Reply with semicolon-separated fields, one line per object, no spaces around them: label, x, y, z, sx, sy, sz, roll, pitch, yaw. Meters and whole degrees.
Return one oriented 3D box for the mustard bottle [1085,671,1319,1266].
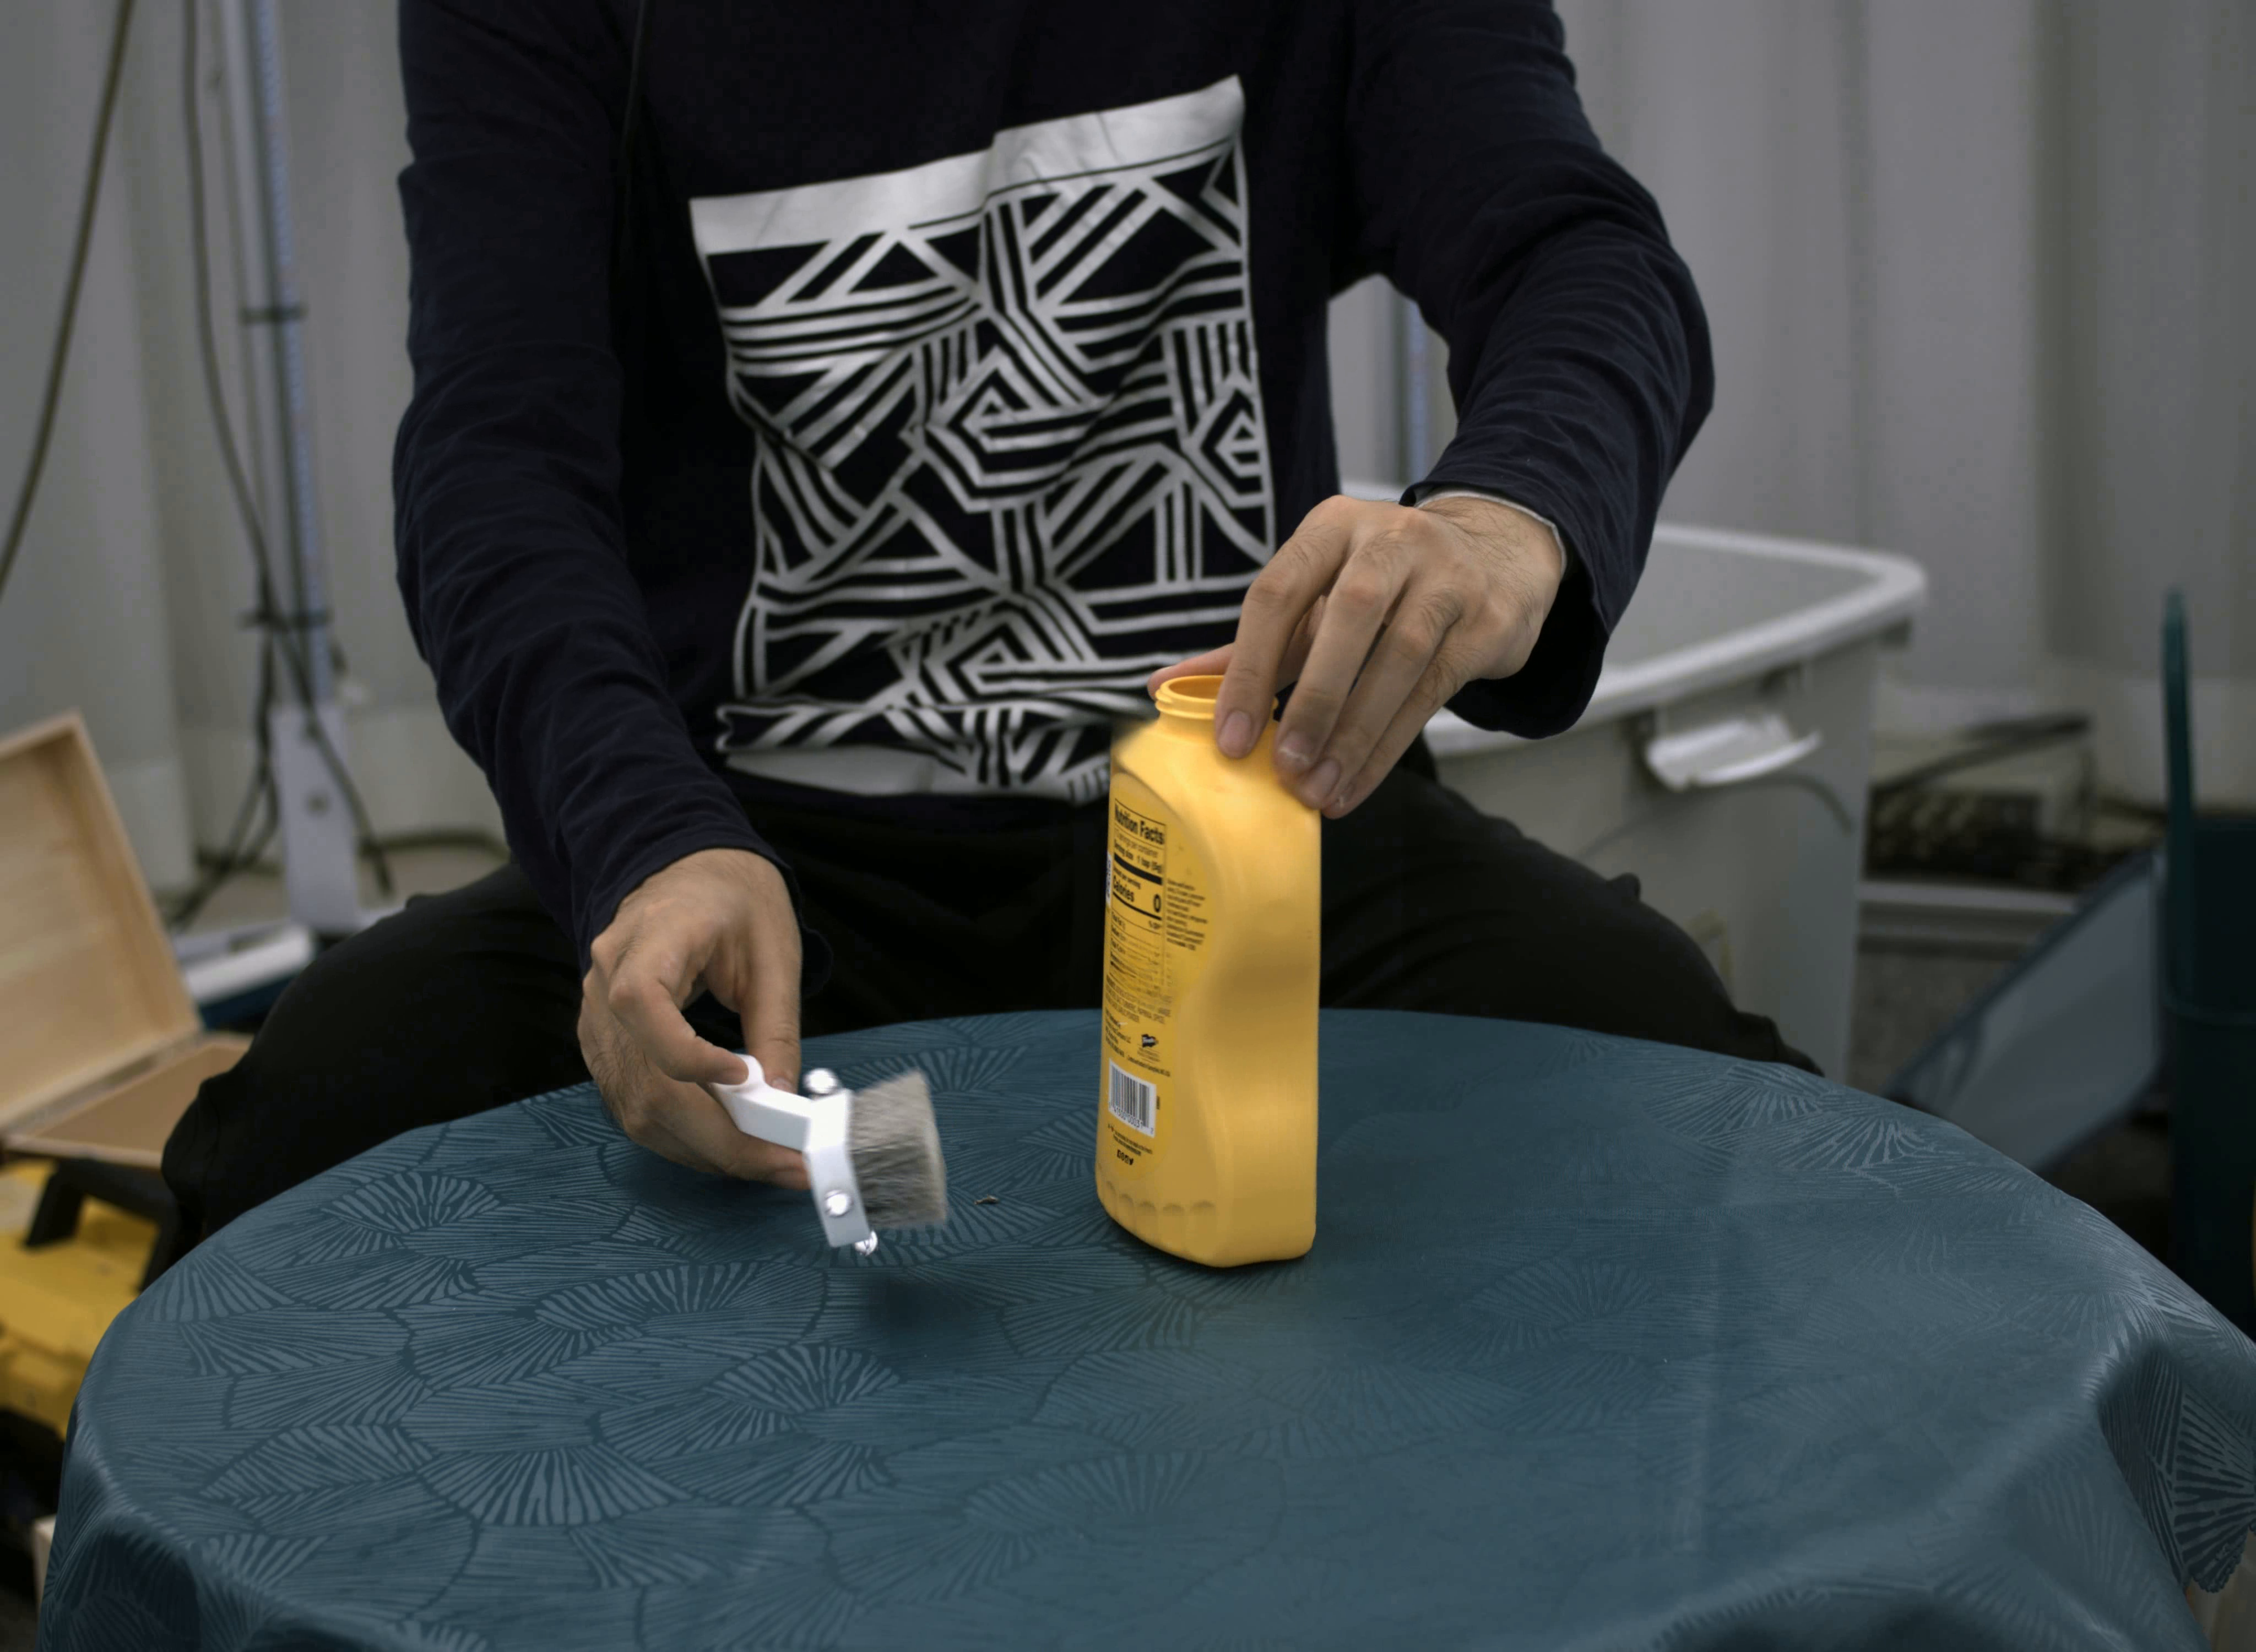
mustard bottle;0.023;0.039;1.658;0.059;0.171;0.099;-3;13;-27

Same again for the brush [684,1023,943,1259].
brush;-0.098;0.081;1.698;0.050;0.034;0.245;-43;17;-3
